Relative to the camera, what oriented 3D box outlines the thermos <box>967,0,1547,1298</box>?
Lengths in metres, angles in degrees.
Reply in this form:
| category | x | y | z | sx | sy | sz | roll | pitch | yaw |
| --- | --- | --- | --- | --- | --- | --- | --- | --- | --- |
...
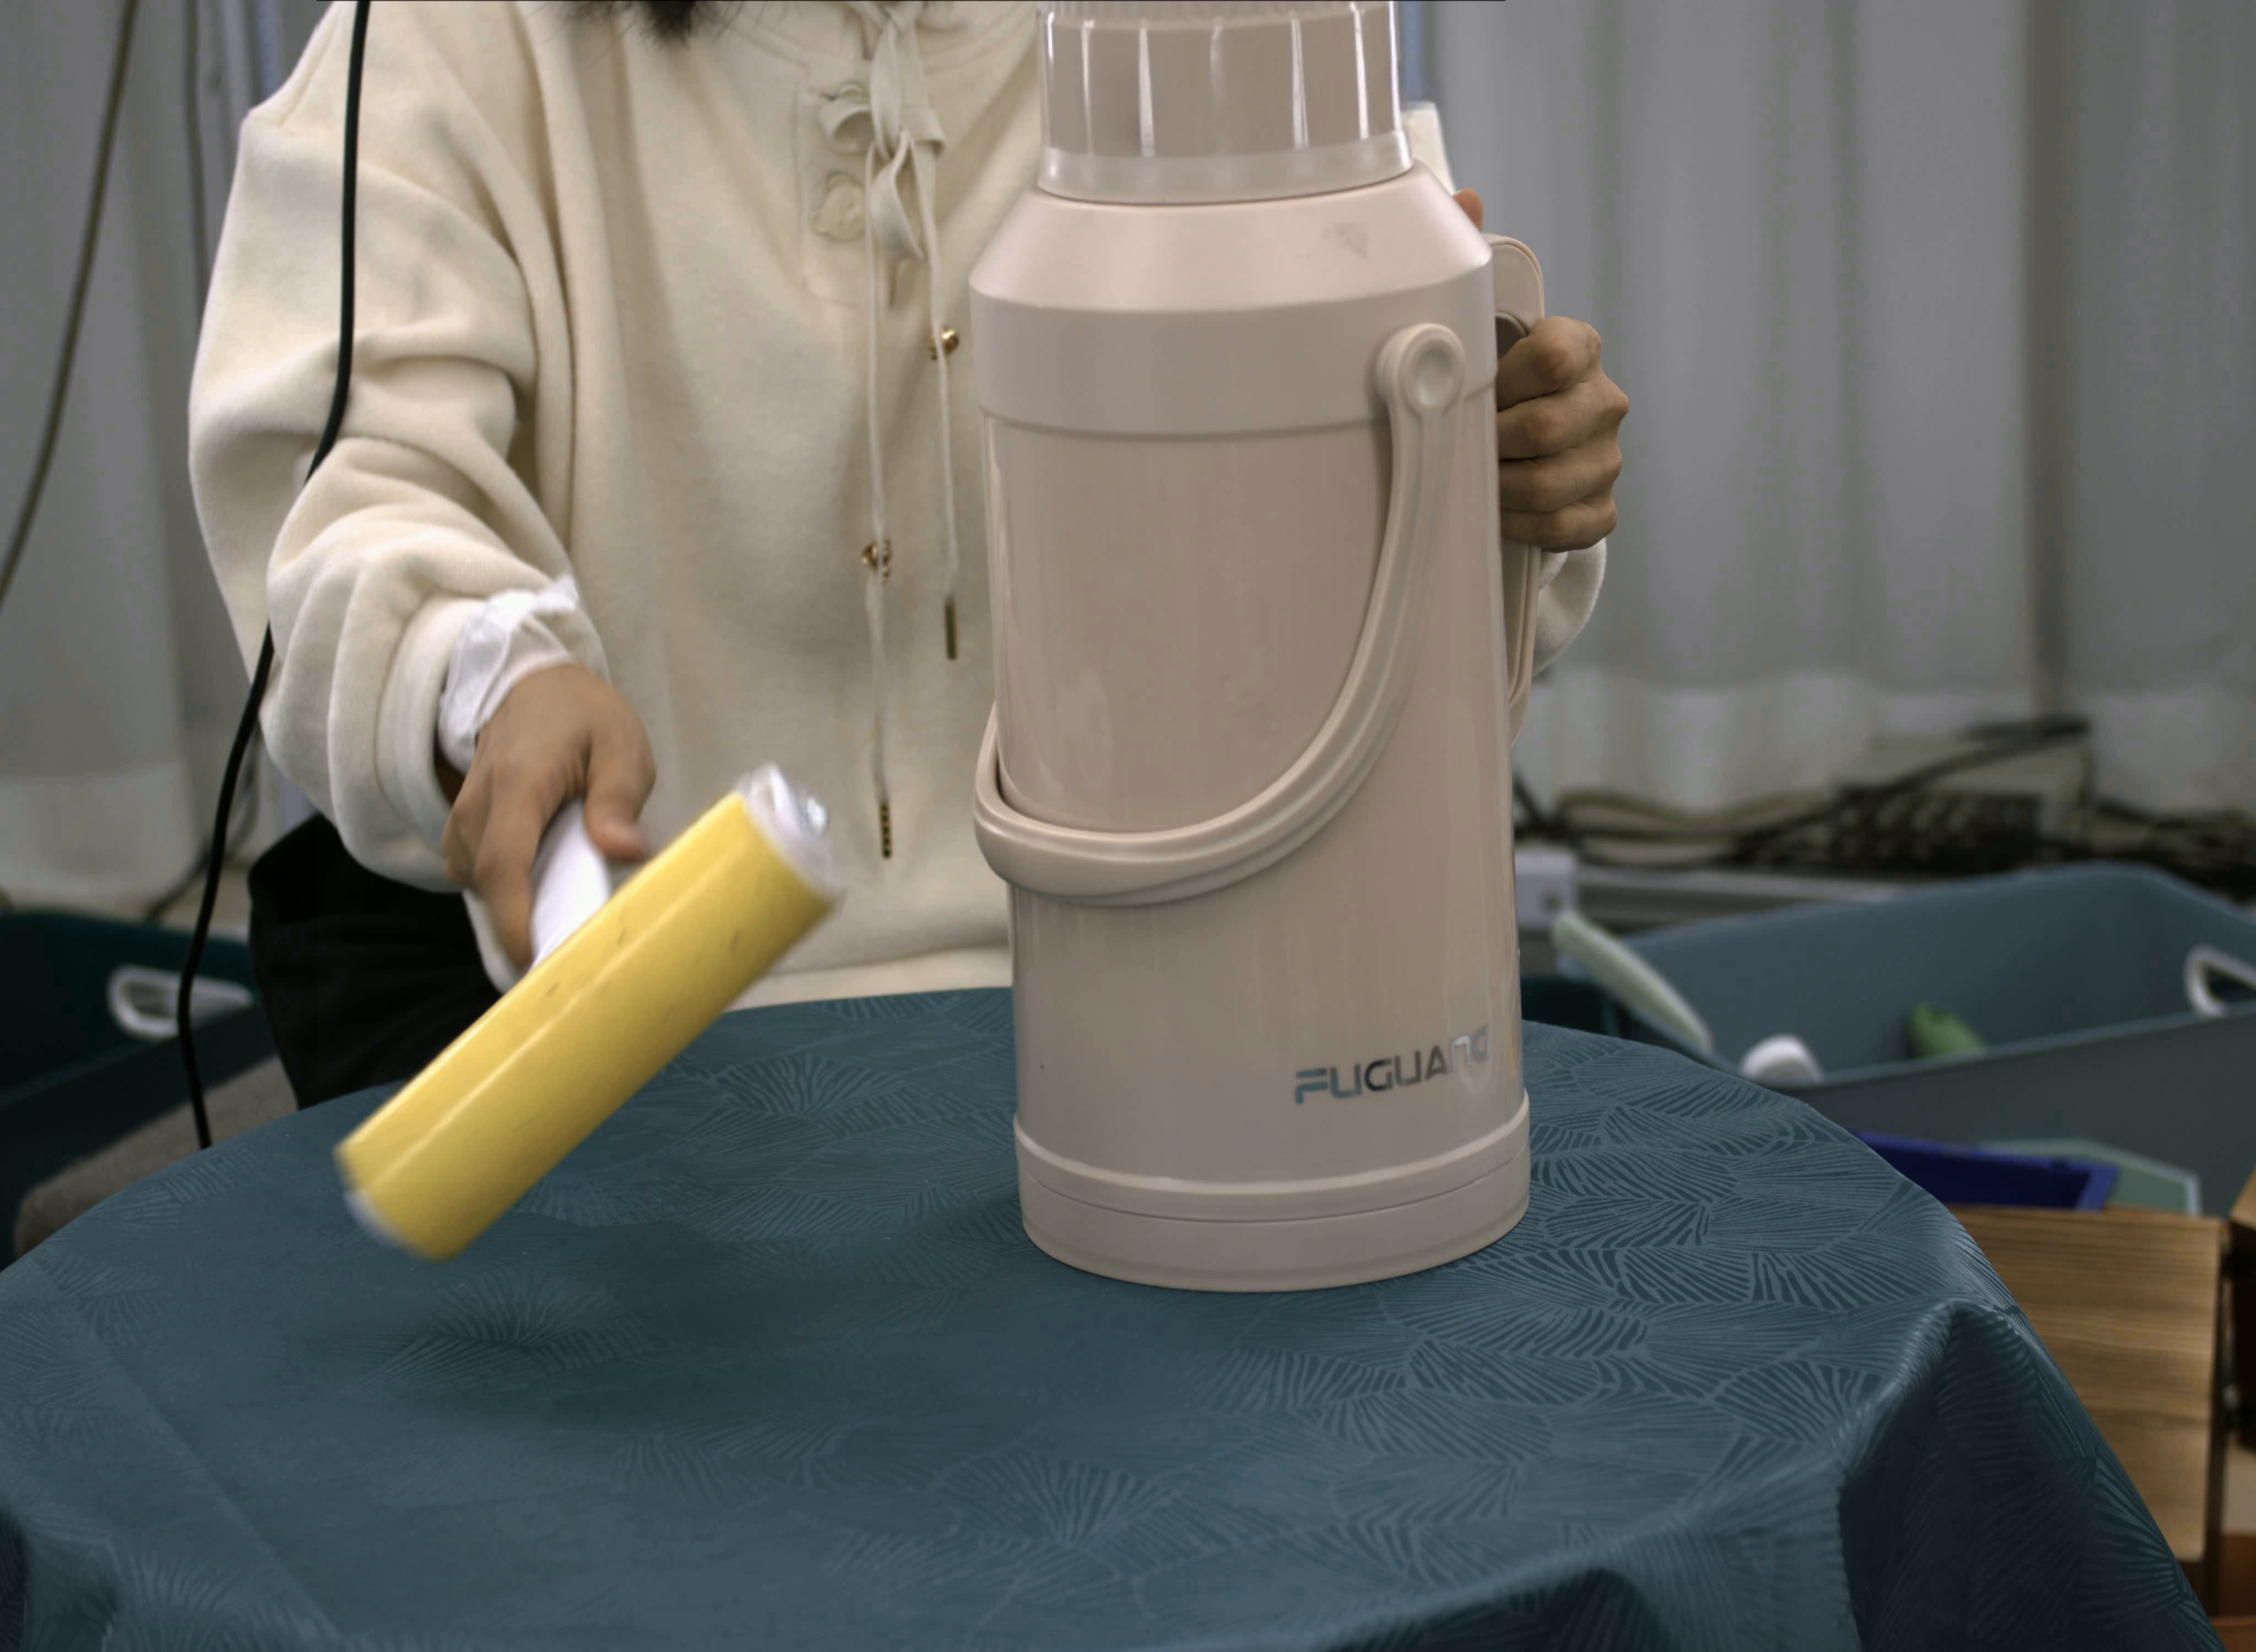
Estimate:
| category | x | y | z | sx | sy | sz | roll | pitch | yaw |
| --- | --- | --- | --- | --- | --- | --- | --- | --- | --- |
| thermos | 0.046 | -0.075 | 1.654 | 0.206 | 0.405 | 0.176 | -13 | 17 | -38 |

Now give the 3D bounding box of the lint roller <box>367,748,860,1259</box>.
| category | x | y | z | sx | sy | sz | roll | pitch | yaw |
| --- | --- | --- | --- | --- | --- | --- | --- | --- | --- |
| lint roller | -0.174 | 0.022 | 1.655 | 0.051 | 0.174 | 0.194 | 40 | 8 | -34 |
